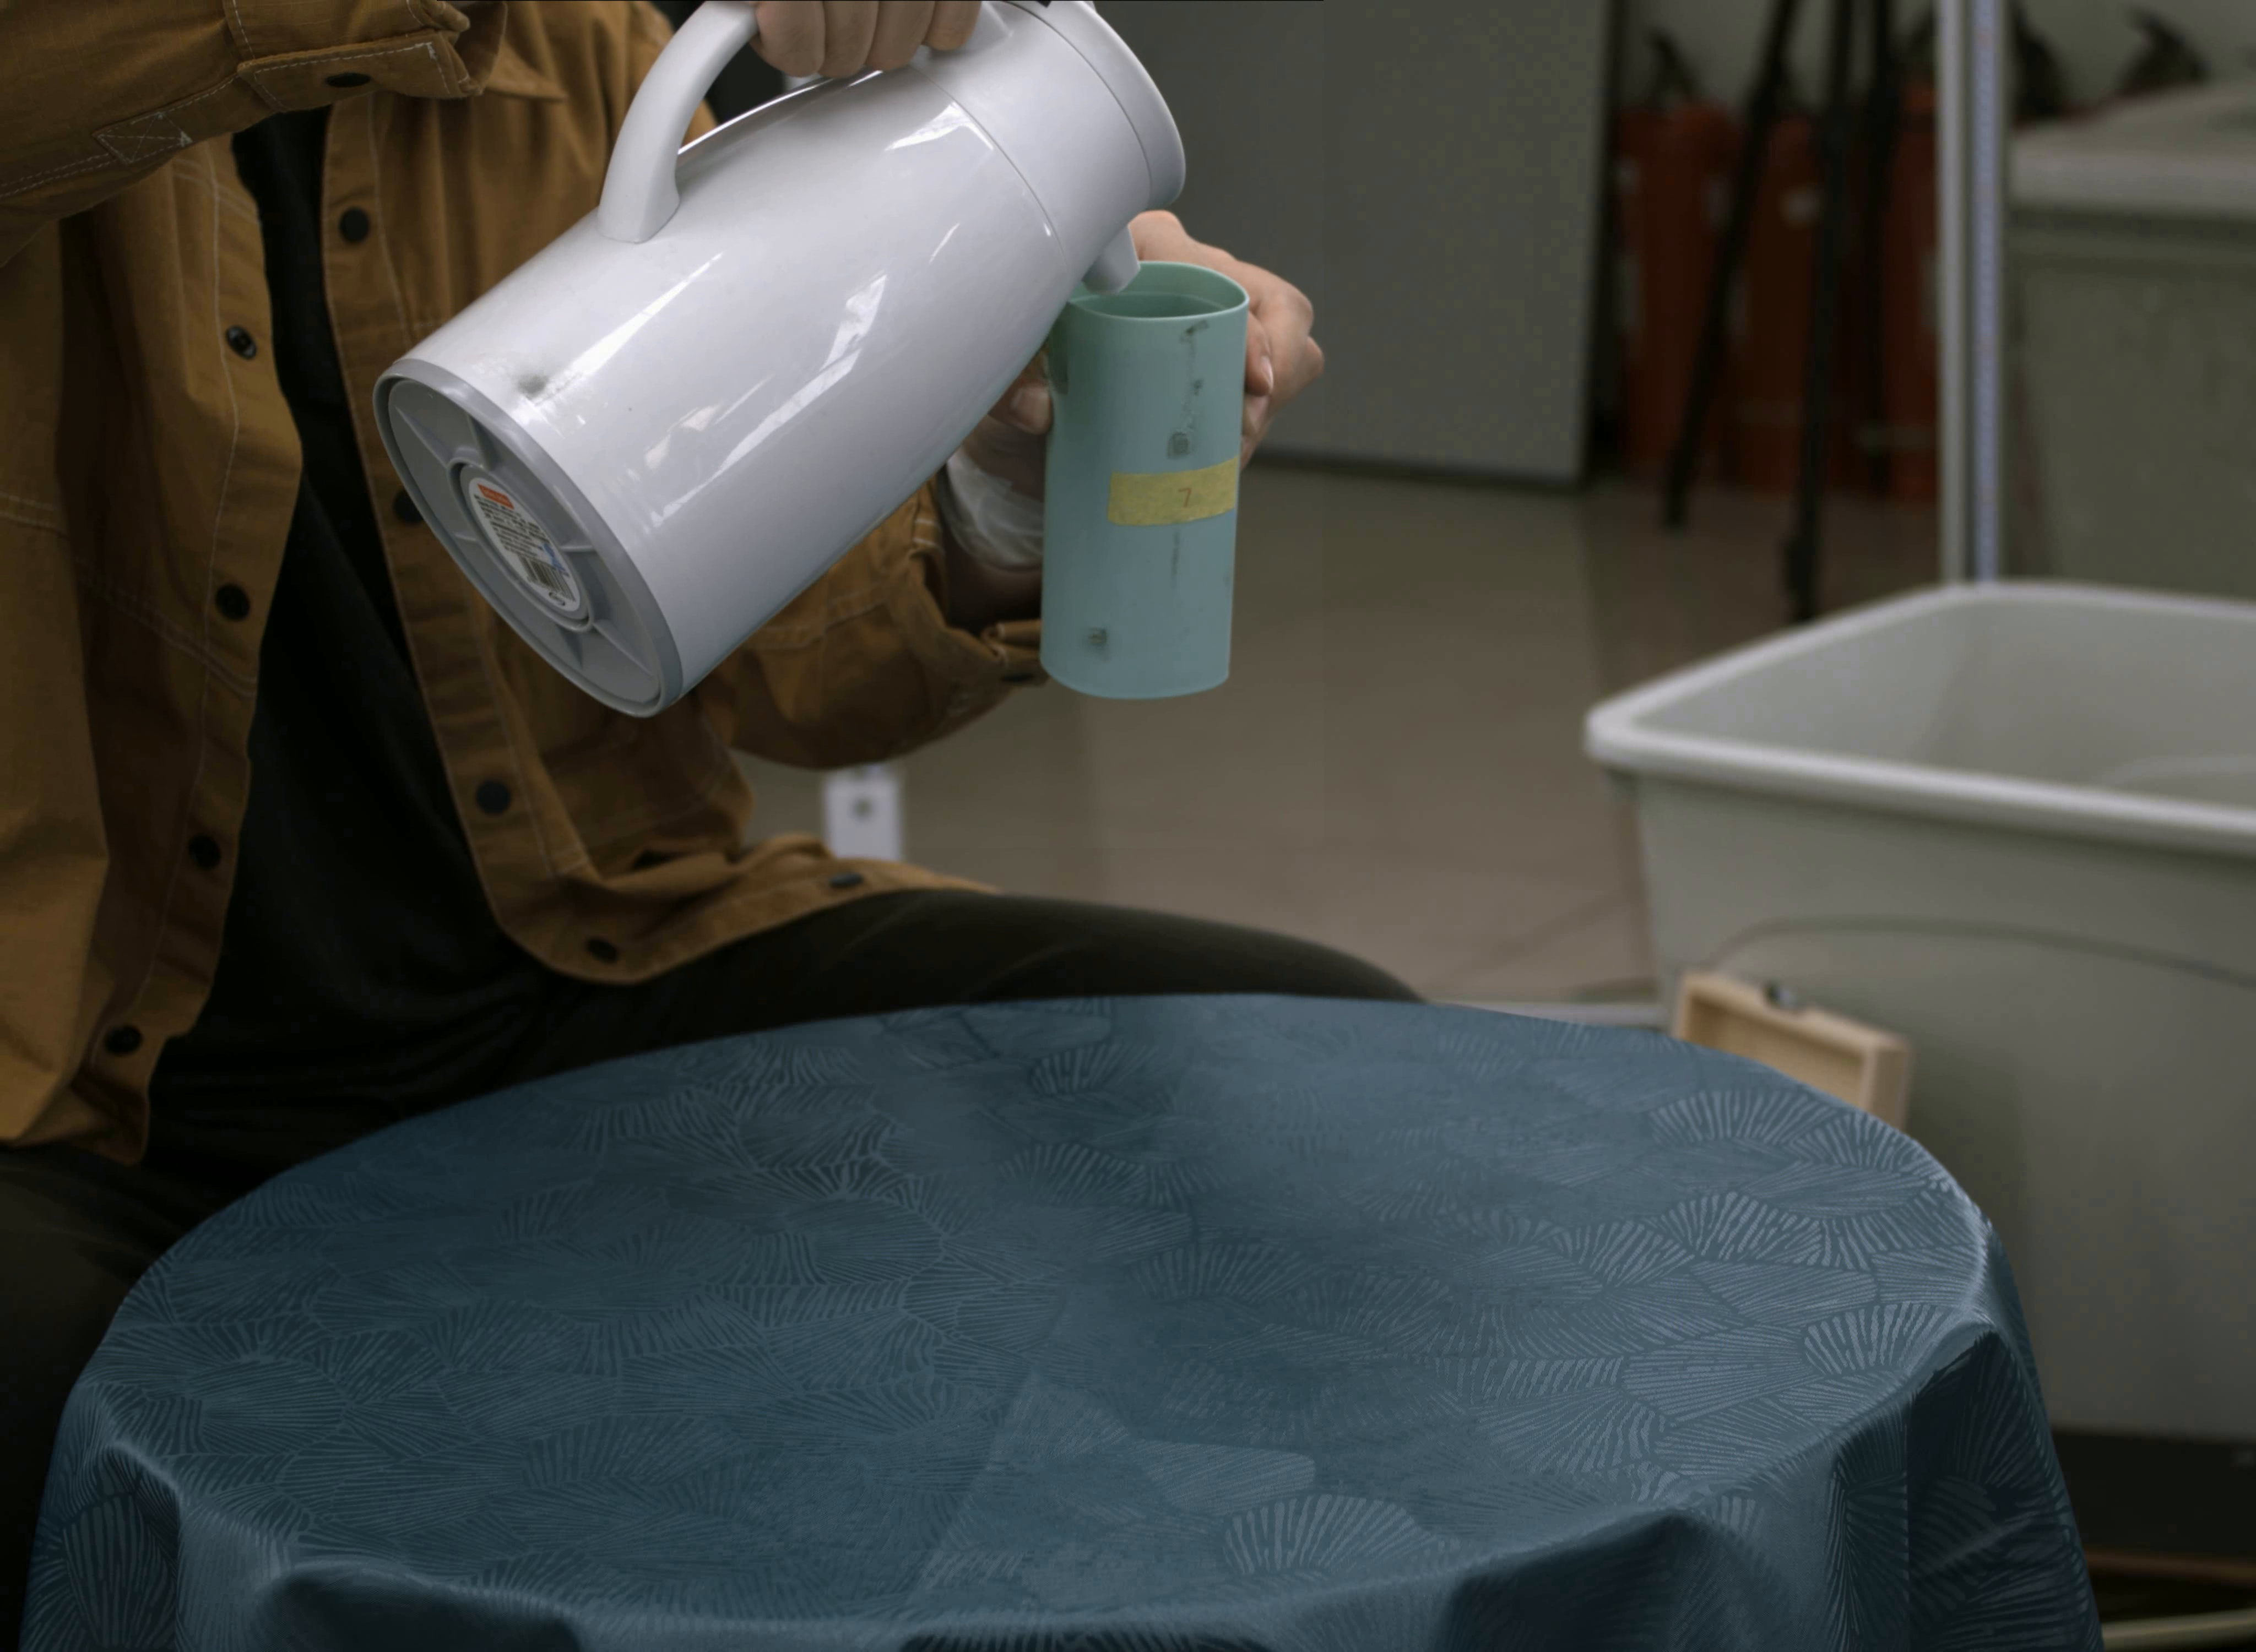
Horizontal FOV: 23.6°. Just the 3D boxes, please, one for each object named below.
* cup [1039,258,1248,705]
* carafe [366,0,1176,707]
[{"bbox_3d":[0.004,-0.113,1.756,0.066,0.134,0.067,2,21,-2],"label":"cup"},{"bbox_3d":[-0.103,-0.178,1.644,0.246,0.167,0.134,-42,39,-18],"label":"carafe"}]
